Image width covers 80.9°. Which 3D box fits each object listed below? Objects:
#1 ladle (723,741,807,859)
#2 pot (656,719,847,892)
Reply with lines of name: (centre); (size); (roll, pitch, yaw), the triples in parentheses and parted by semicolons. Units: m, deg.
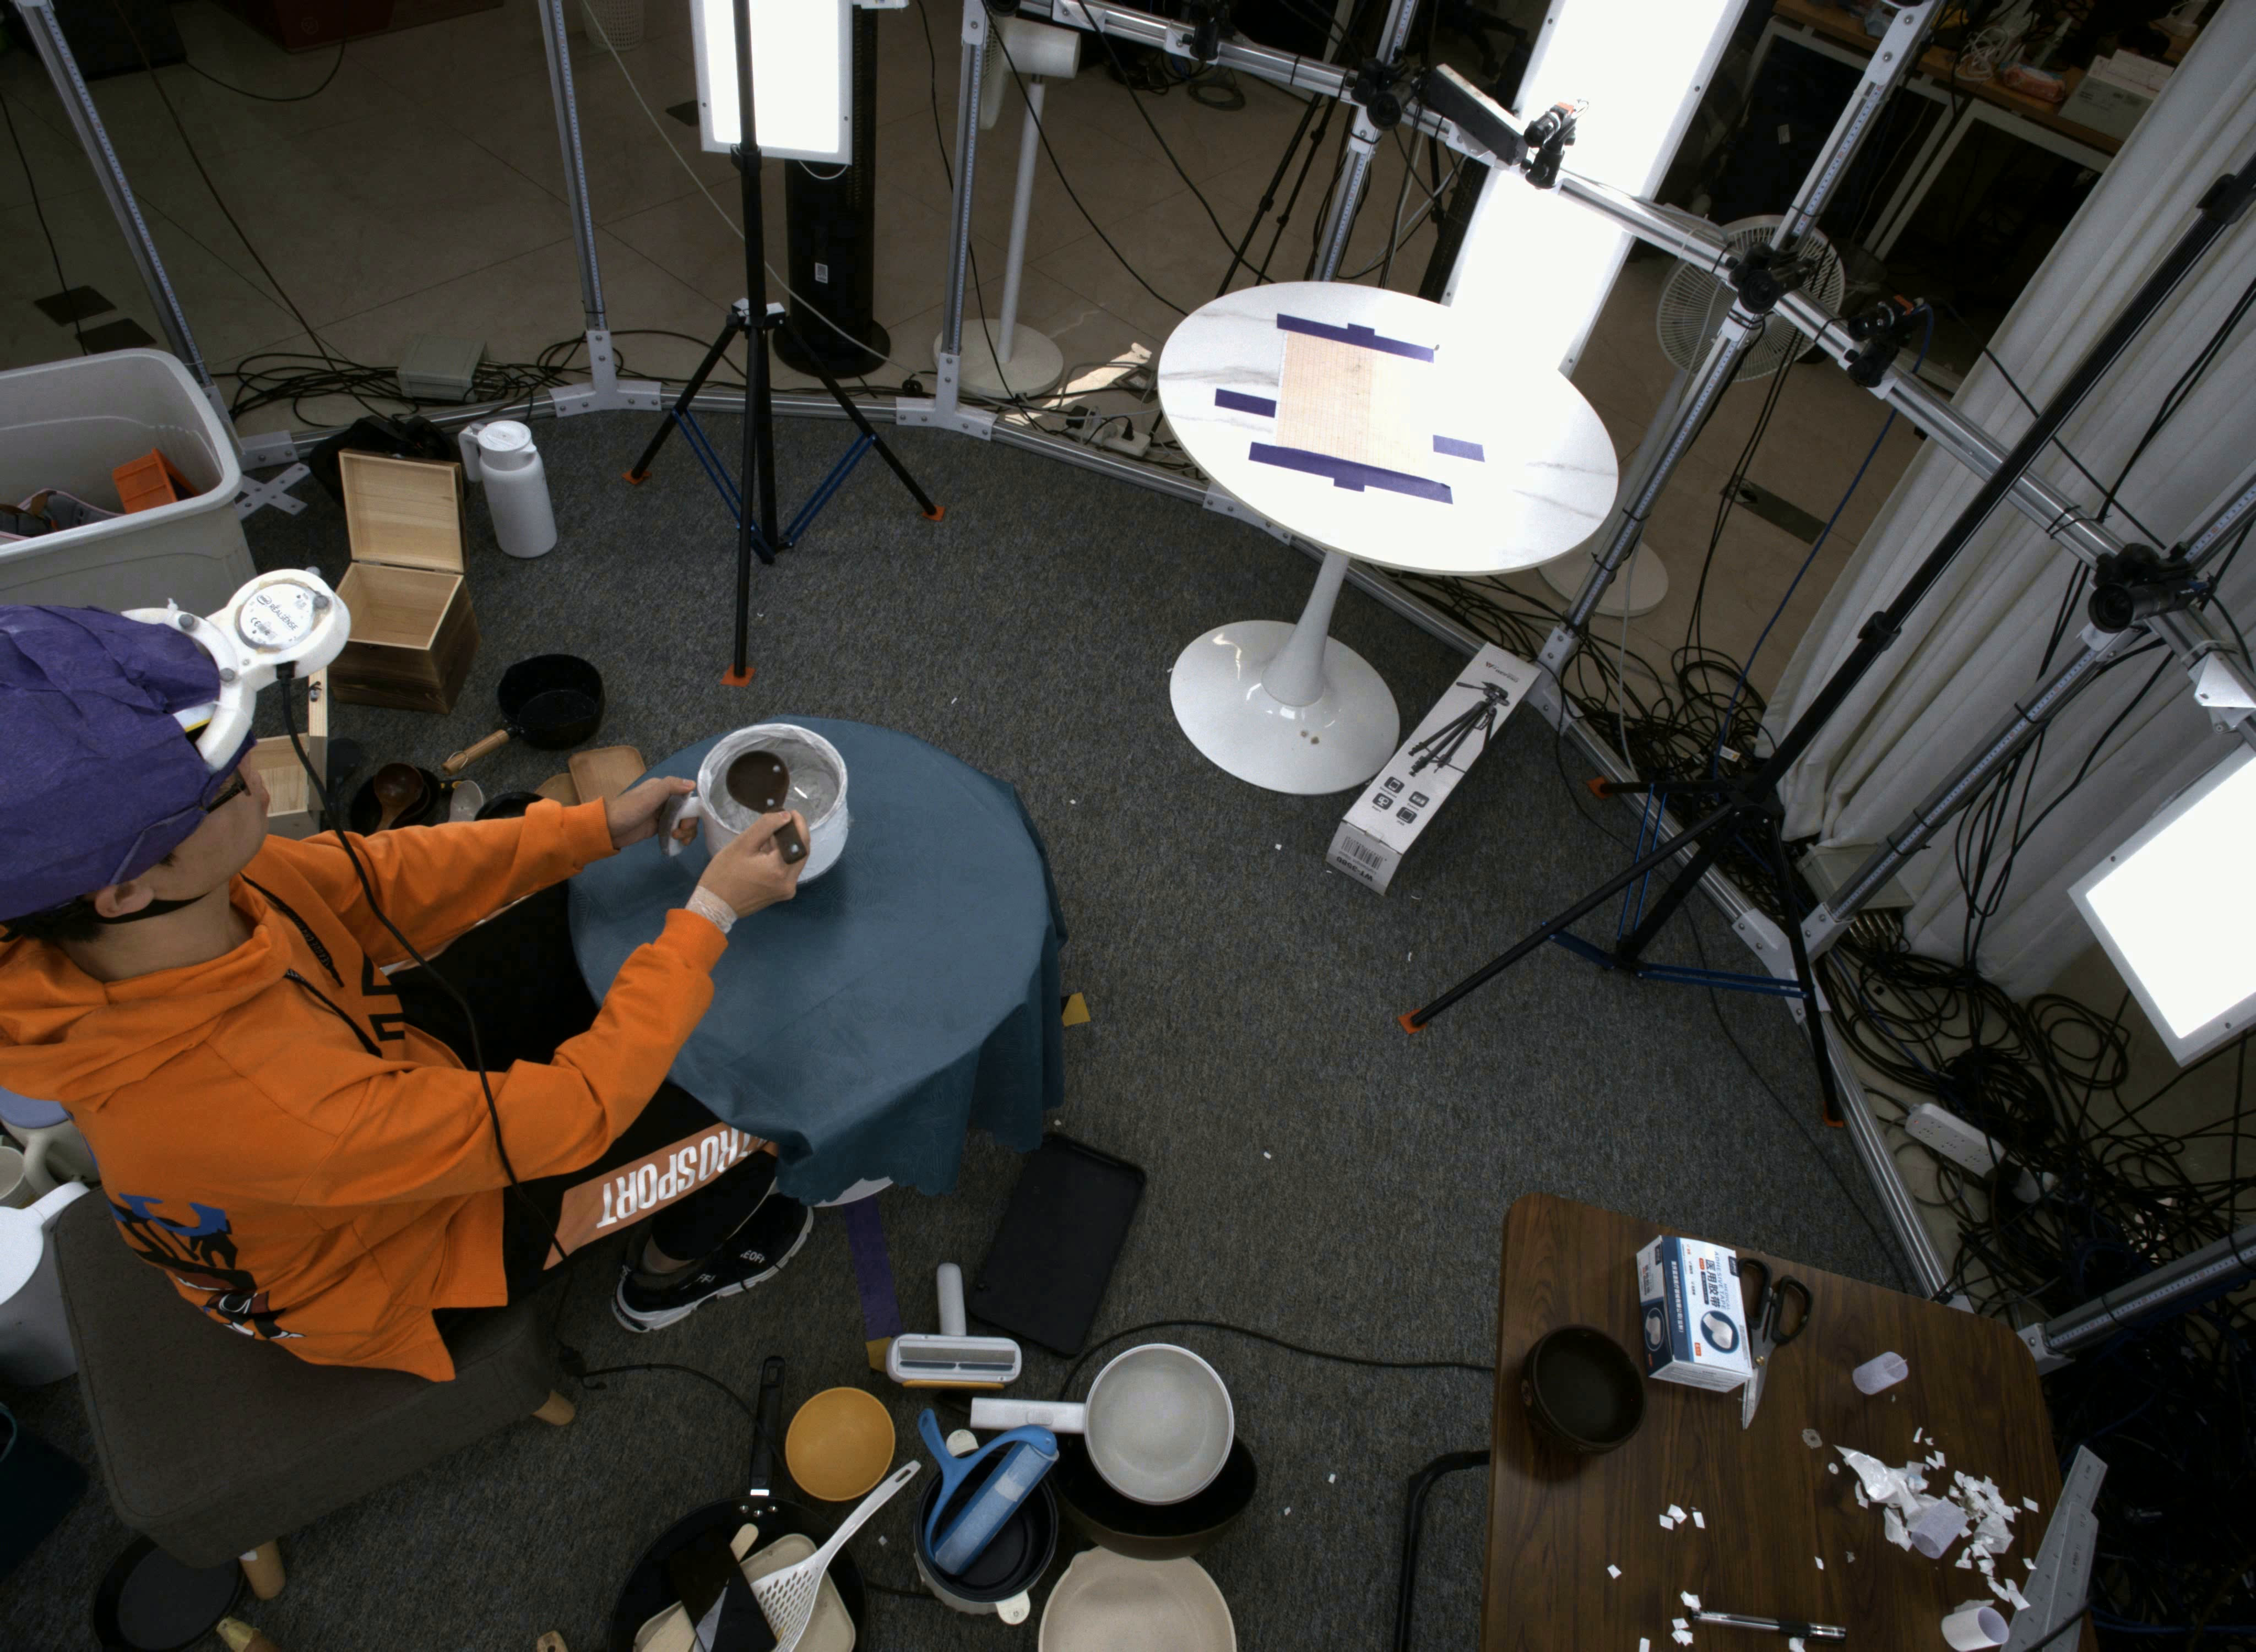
ladle: (-0.396, -0.035, 1.417); (0.076, 0.074, 0.265); (-29, 24, -13)
pot: (-0.461, -0.017, 1.580); (0.234, 0.139, 0.174); (-9, 57, -19)
